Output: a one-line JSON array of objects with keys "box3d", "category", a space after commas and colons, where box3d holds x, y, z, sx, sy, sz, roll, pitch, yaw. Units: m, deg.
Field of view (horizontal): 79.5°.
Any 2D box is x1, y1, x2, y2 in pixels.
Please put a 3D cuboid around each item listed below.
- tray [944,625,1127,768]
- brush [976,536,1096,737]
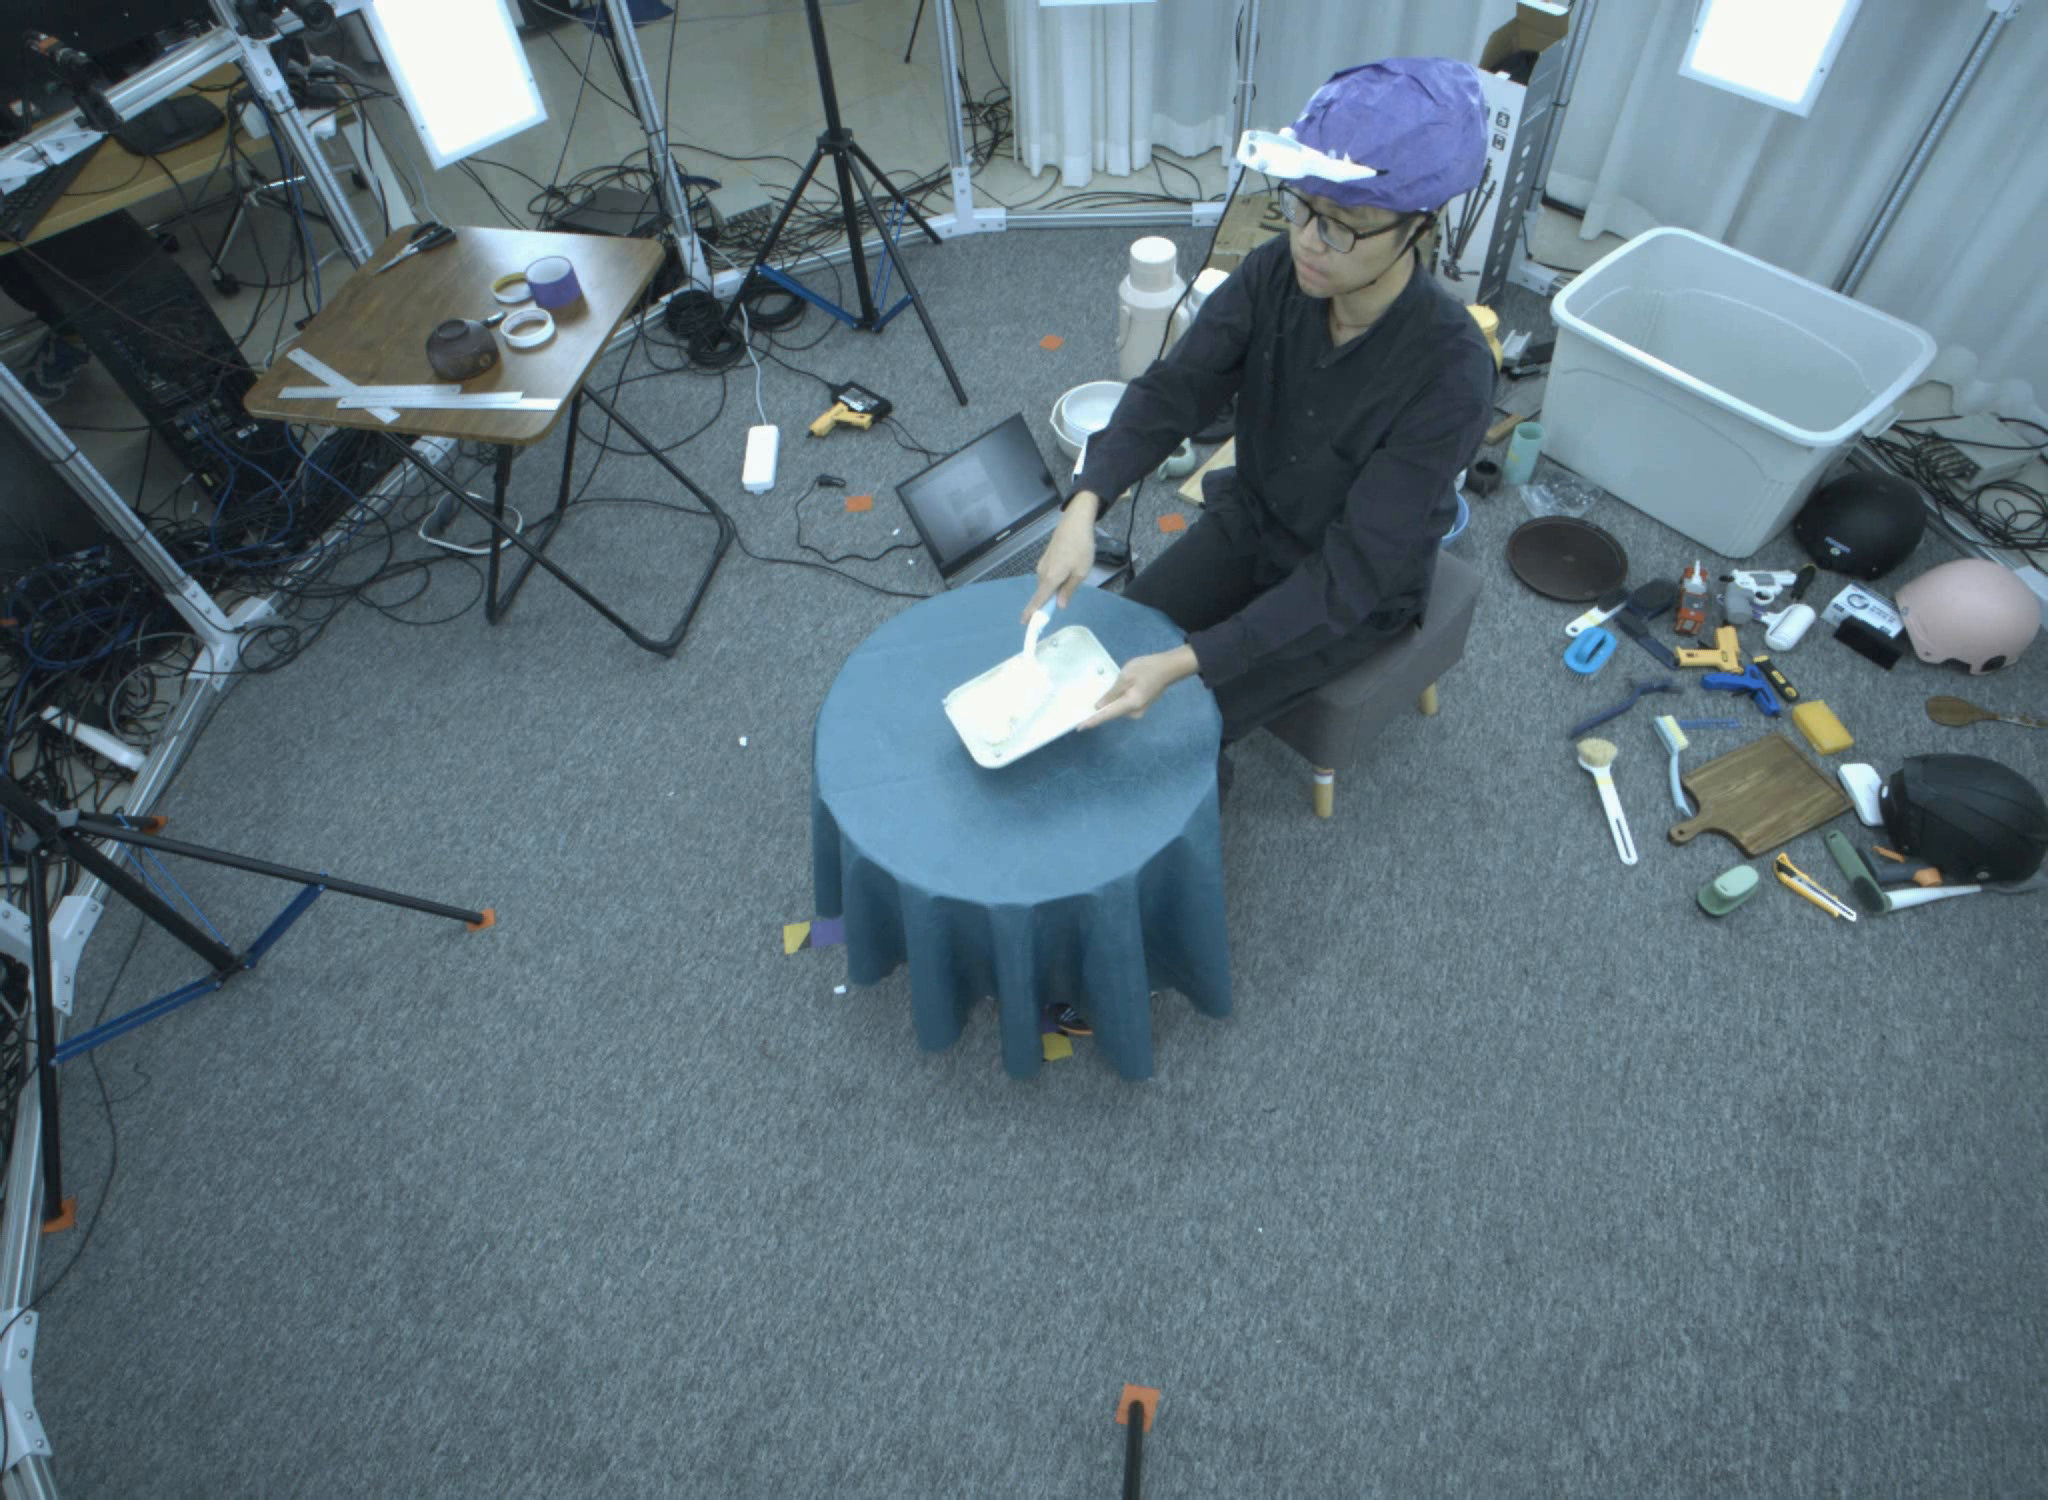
[{"box3d": [0.015, -0.076, 1.732, 0.240, 0.018, 0.168, -29, 51, -5], "category": "tray"}, {"box3d": [0.032, -0.154, 1.740, 0.083, 0.084, 0.325, 31, 76, -7], "category": "brush"}]
